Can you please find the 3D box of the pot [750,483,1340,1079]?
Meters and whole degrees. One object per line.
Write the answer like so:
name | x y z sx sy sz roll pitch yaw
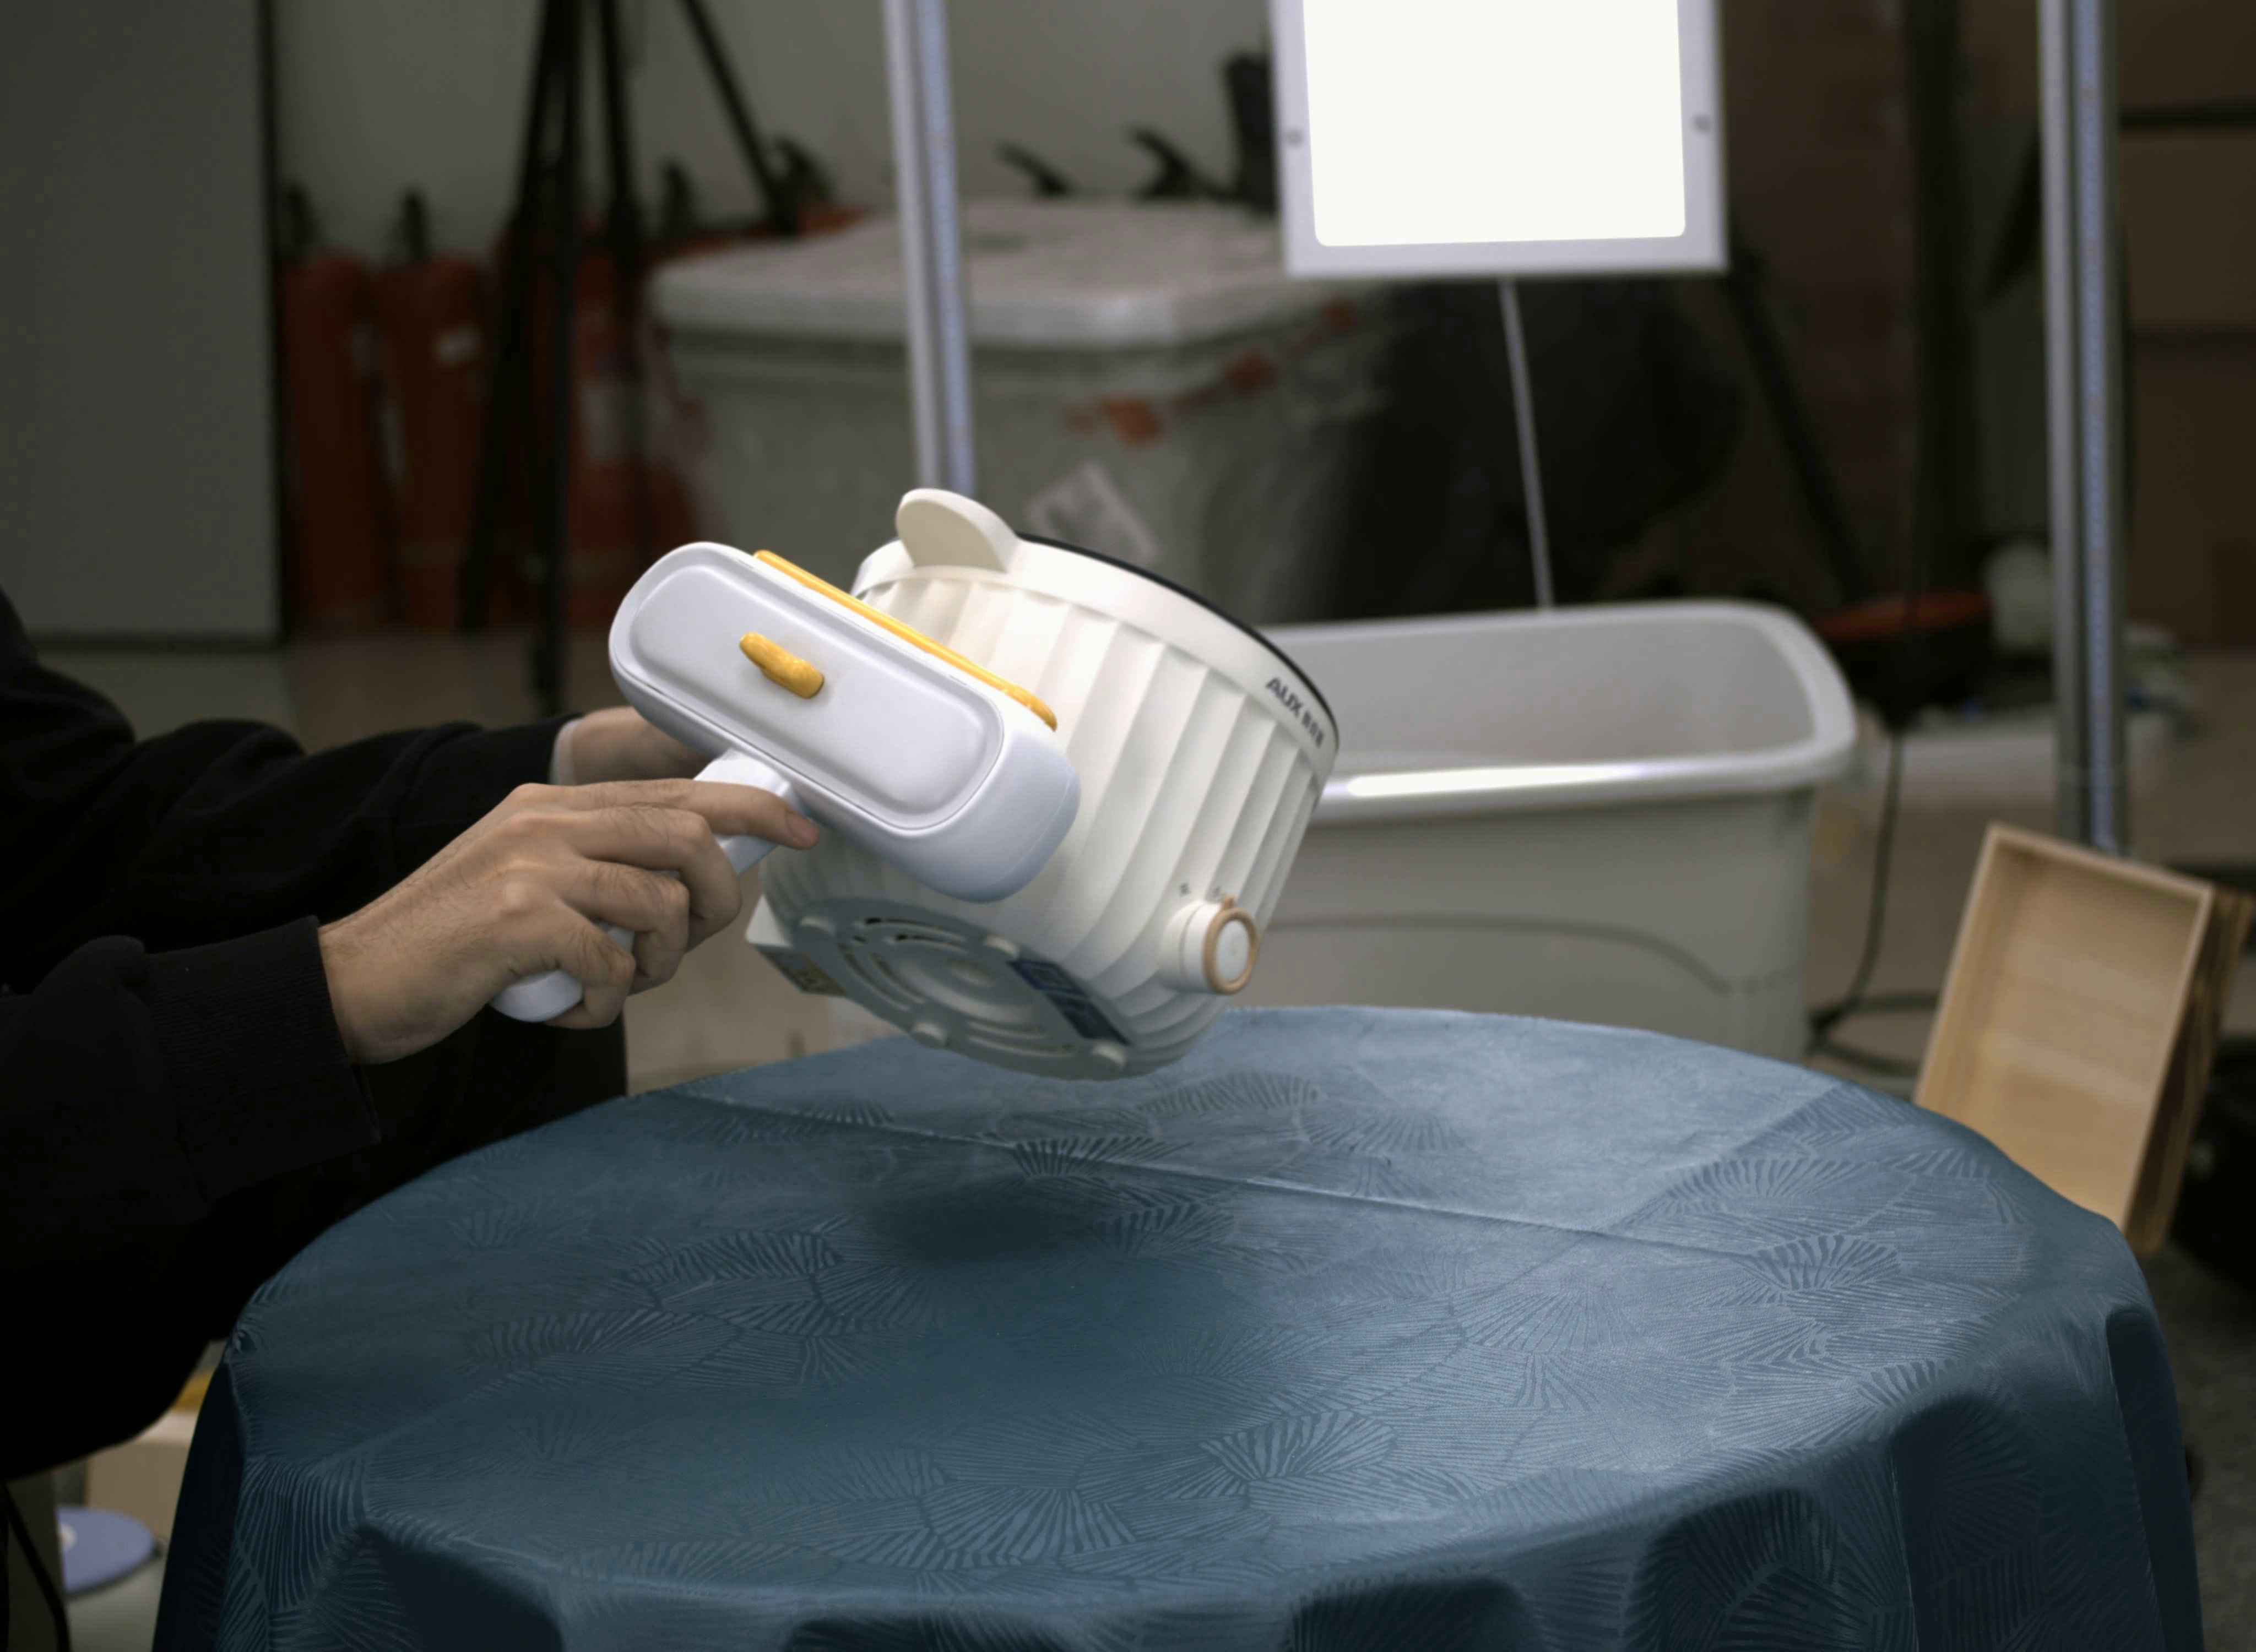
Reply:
pot | -0.027 0.000 1.912 0.194 0.142 0.237 2 -28 34

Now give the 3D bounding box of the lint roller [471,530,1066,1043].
lint roller | -0.138 0.001 1.799 0.196 0.073 0.191 27 71 34
